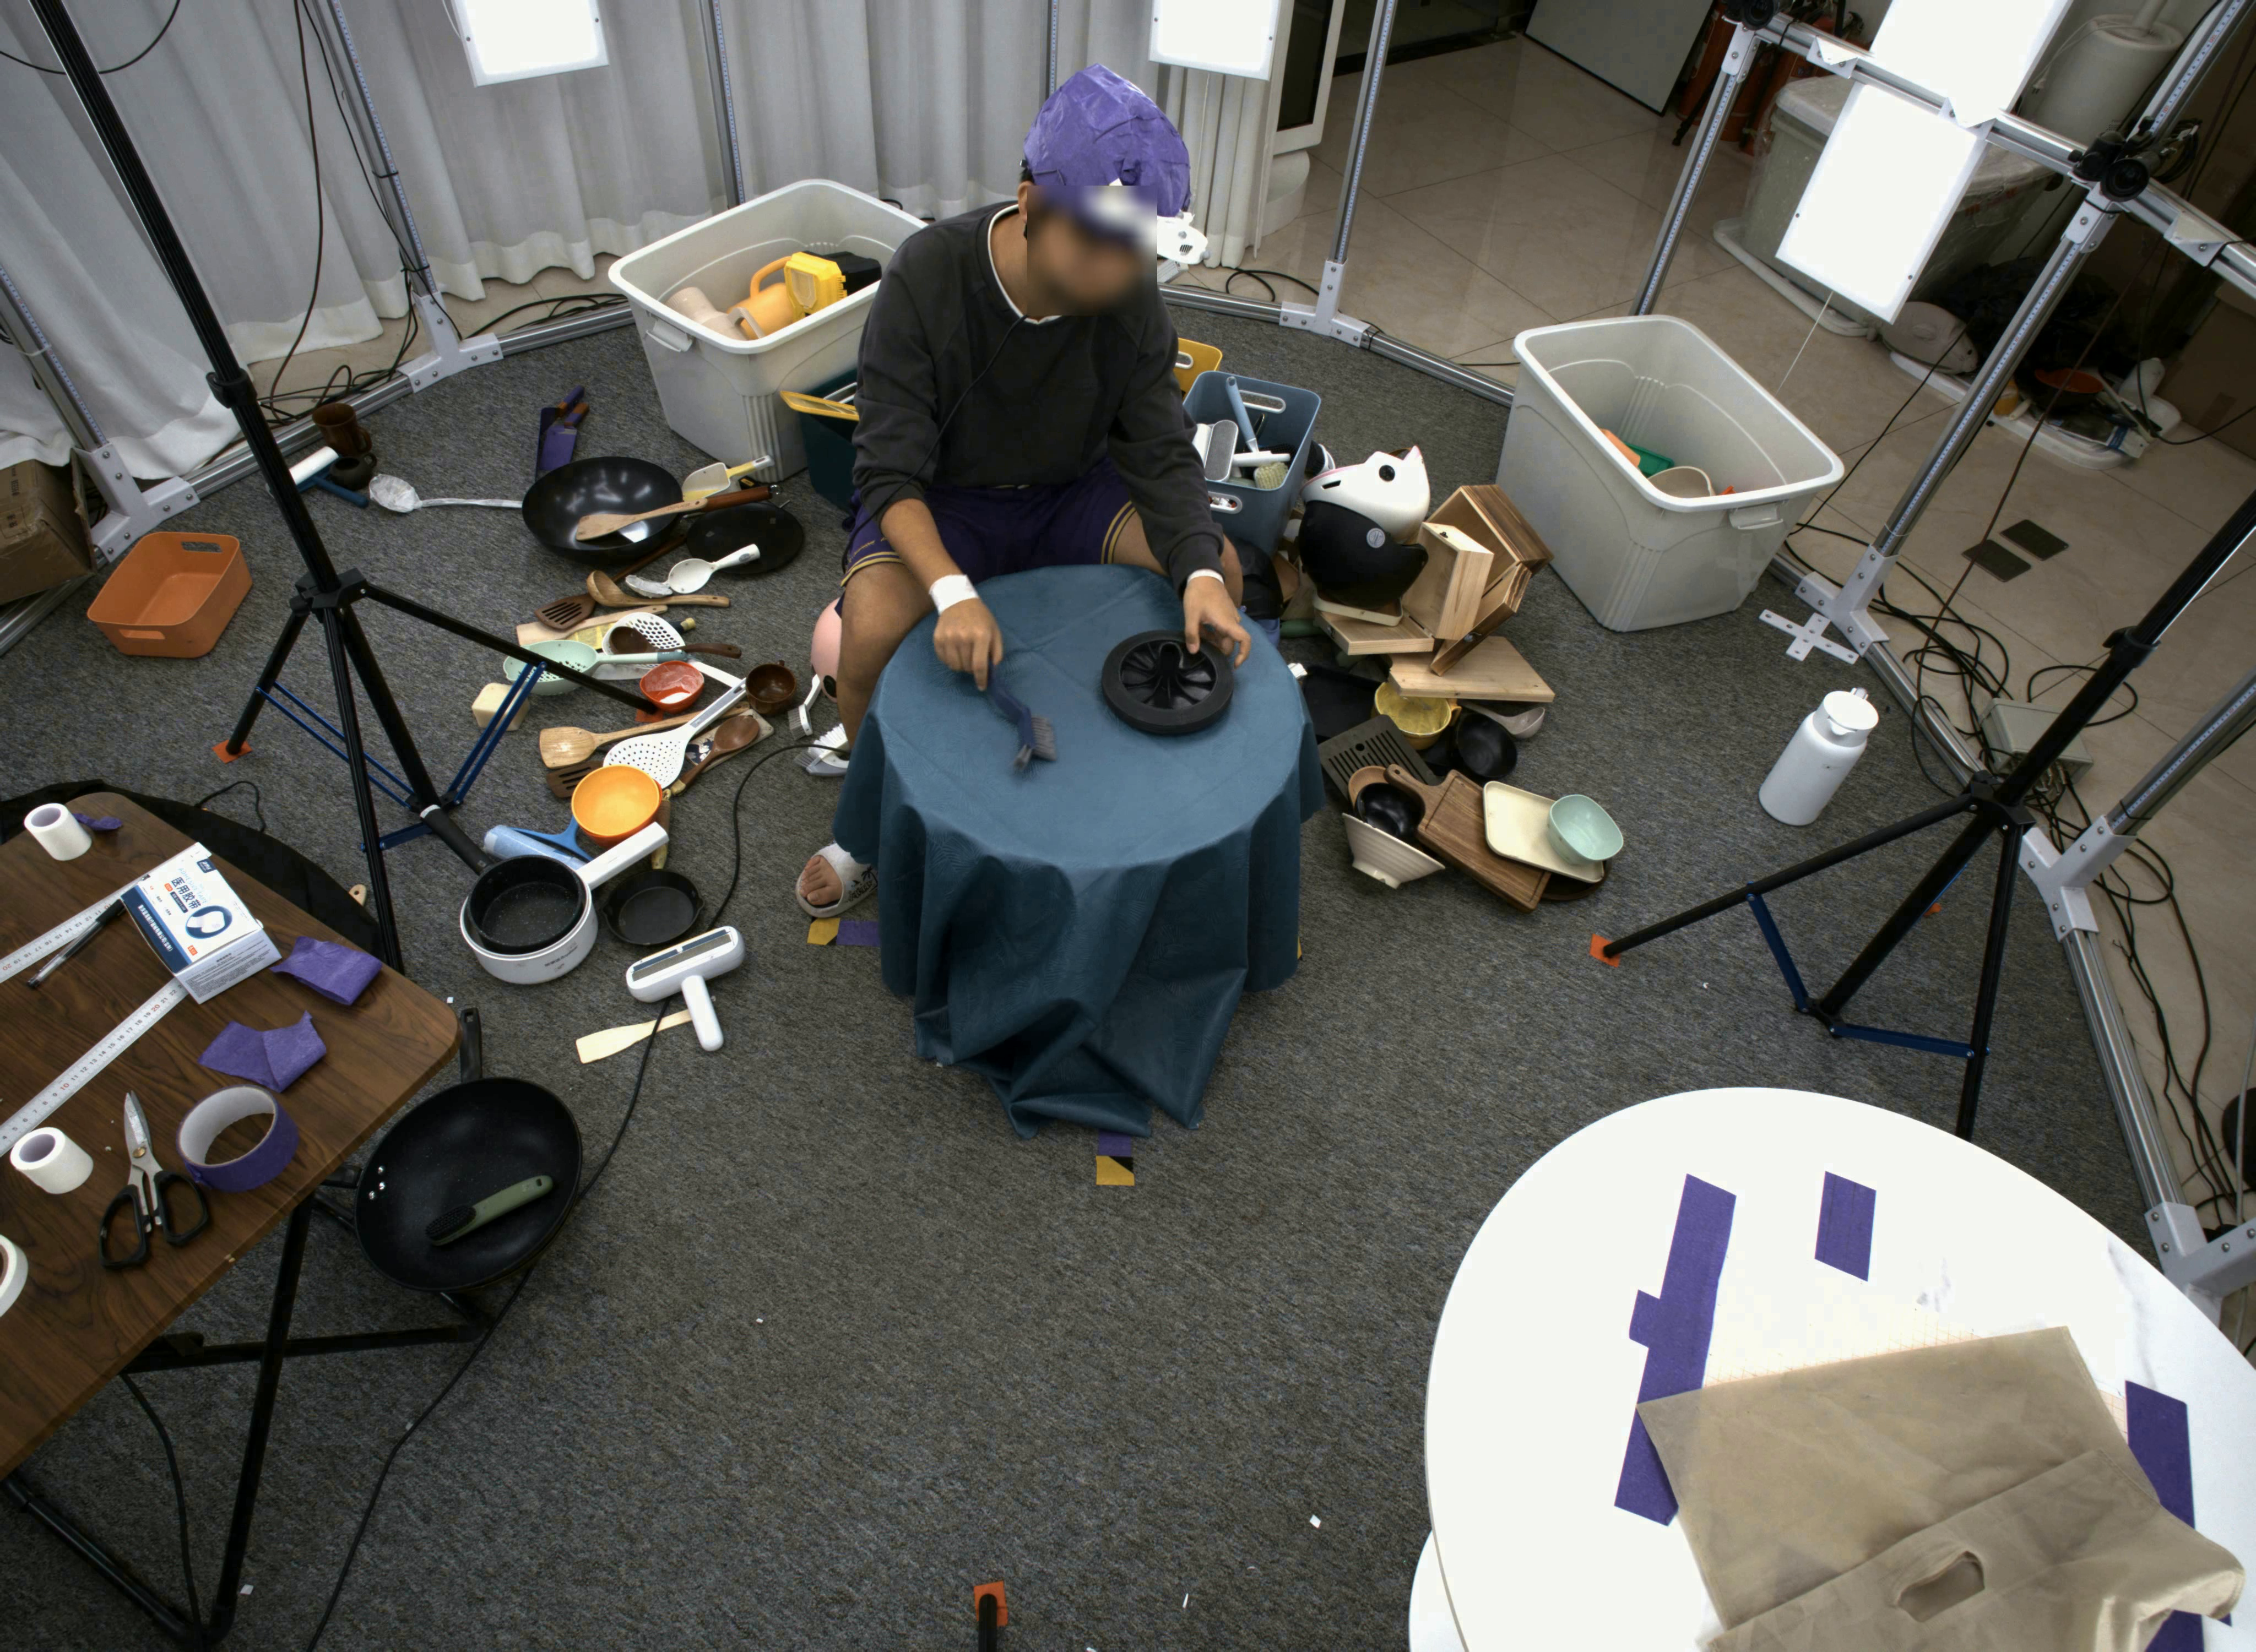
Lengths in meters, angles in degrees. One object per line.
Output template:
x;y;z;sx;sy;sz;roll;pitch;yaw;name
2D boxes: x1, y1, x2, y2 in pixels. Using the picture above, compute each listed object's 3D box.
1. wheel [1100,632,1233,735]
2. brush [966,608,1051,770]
0.055;-0.219;1.810;0.191;0.077;0.191;18;54;14;wheel
-0.183;-0.194;1.780;0.096;0.033;0.278;-13;57;-36;brush
